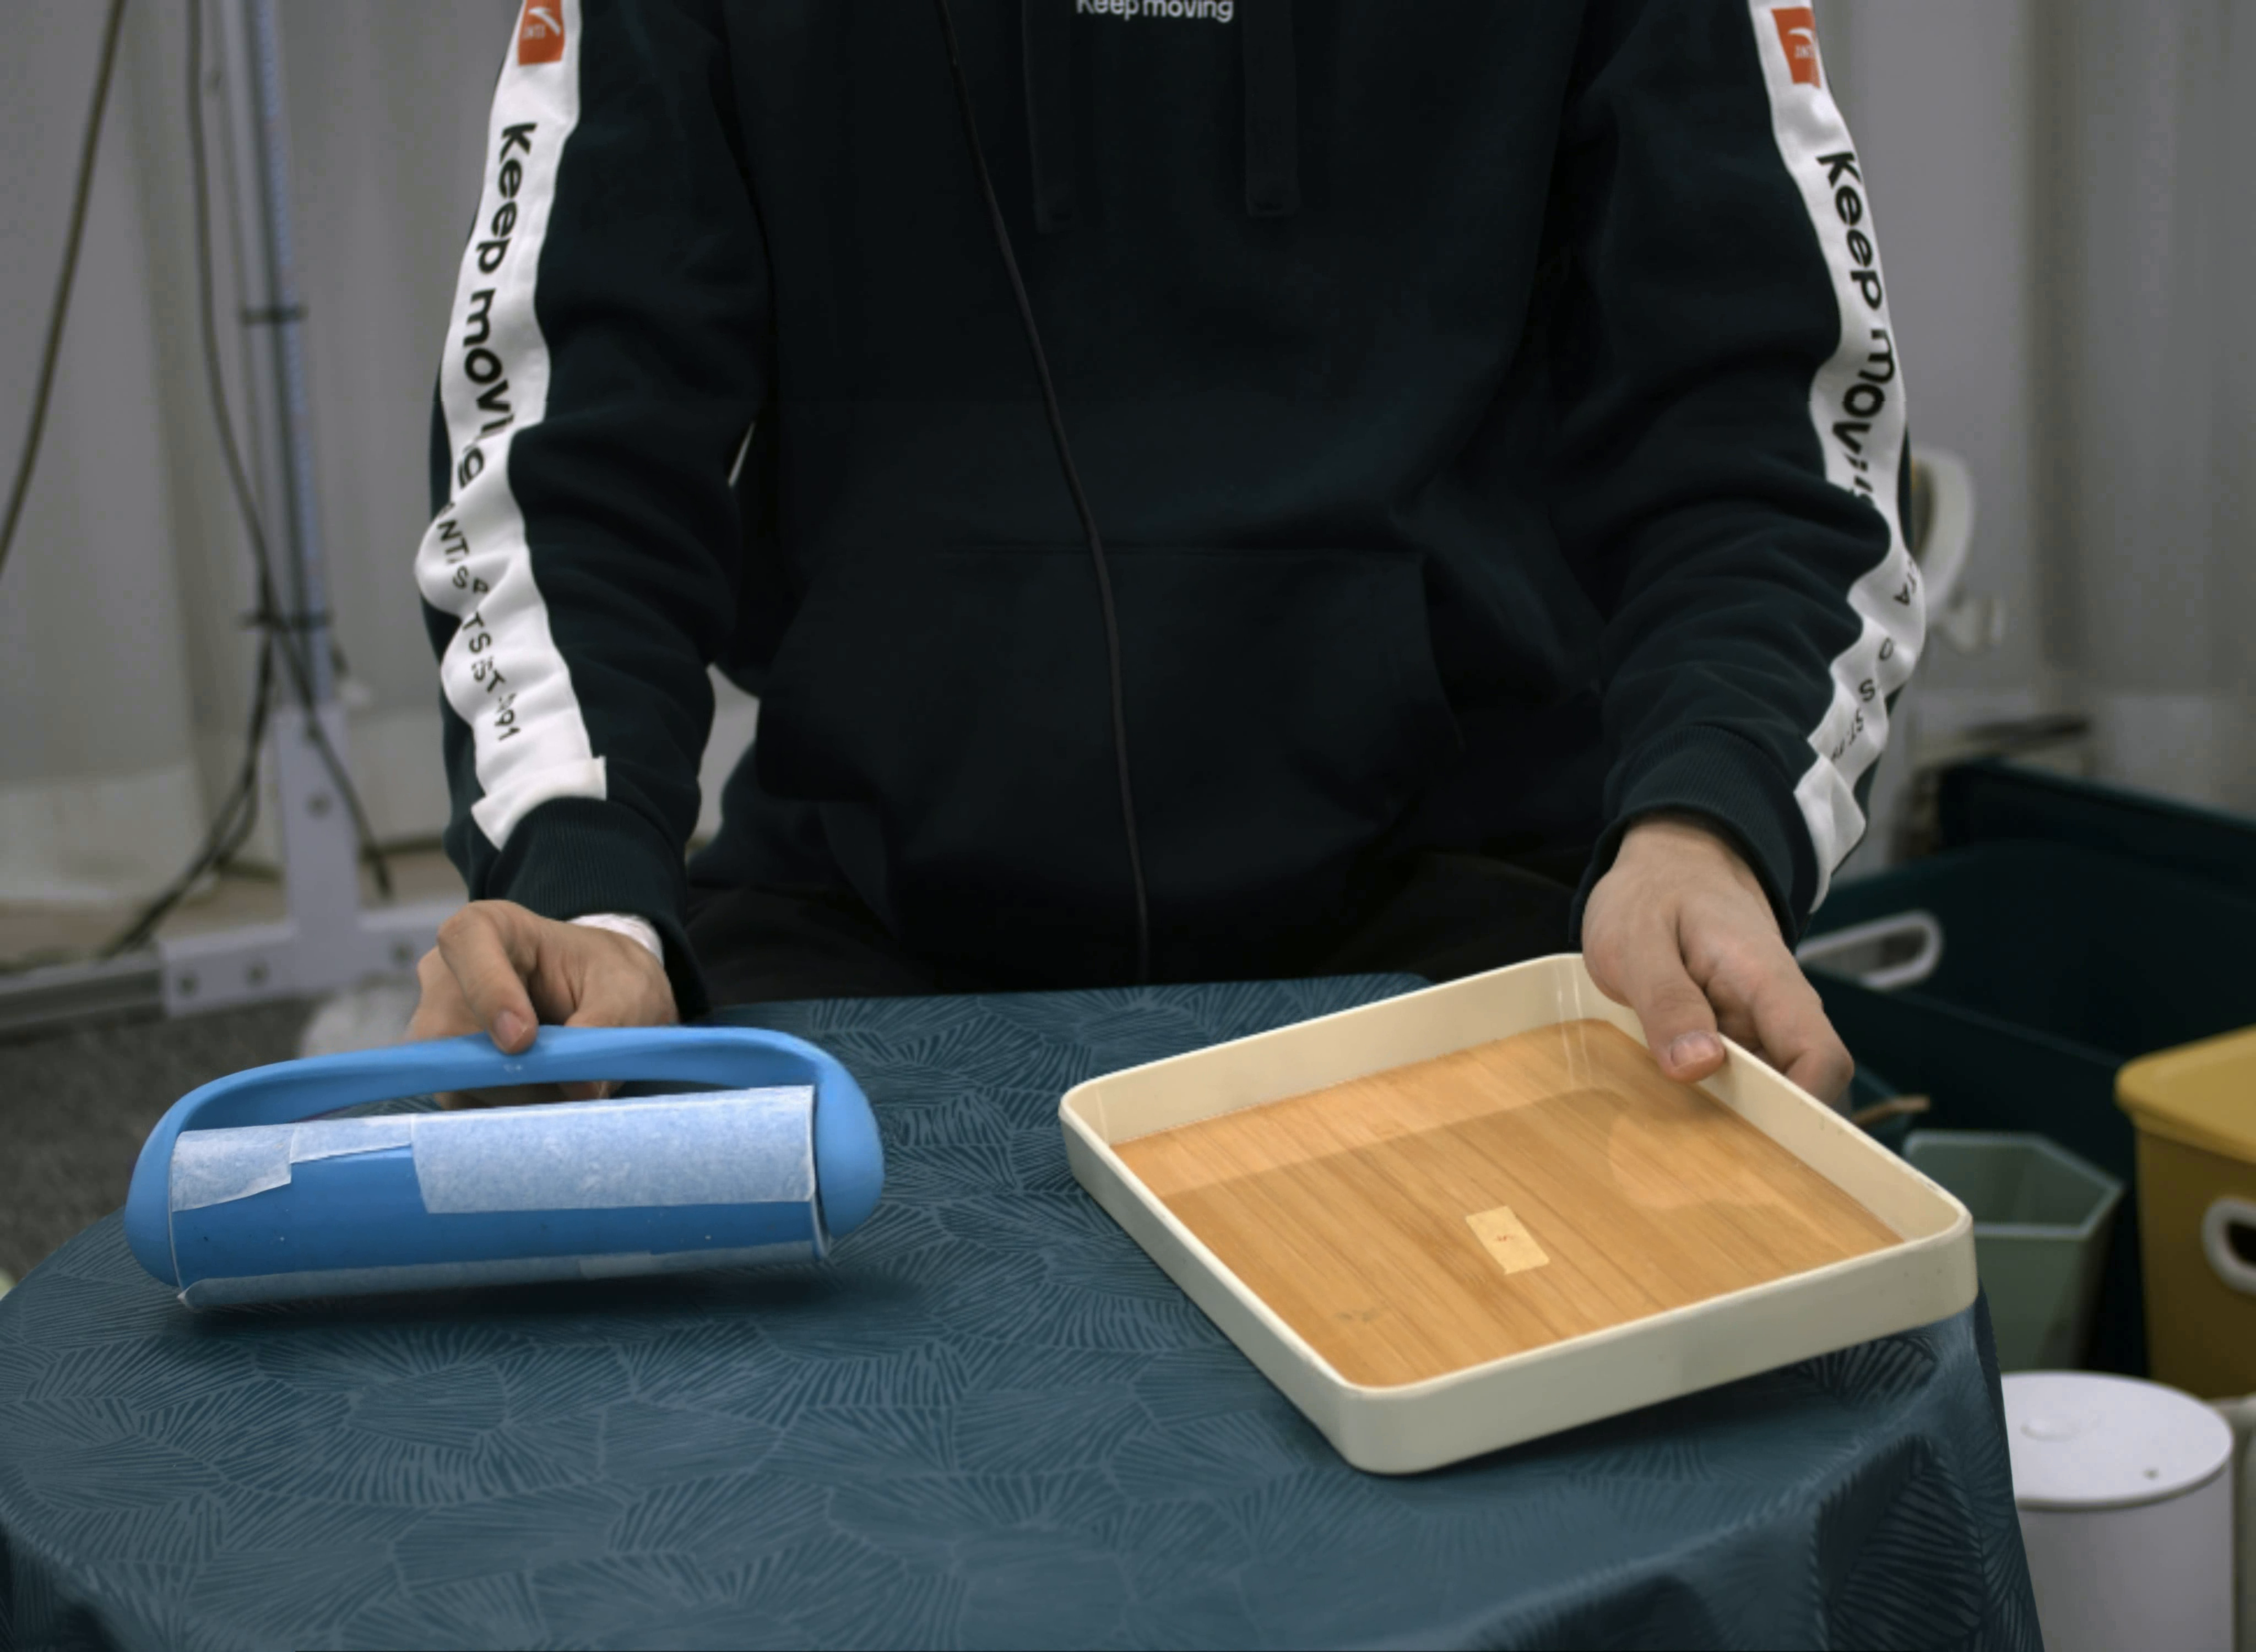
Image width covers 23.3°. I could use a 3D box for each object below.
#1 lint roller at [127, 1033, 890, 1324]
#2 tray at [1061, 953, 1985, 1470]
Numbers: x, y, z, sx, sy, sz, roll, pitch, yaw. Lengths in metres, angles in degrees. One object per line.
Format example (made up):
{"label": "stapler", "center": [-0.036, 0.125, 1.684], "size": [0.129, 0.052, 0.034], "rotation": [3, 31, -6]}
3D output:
{"label": "lint roller", "center": [-0.188, 0.097, 1.690], "size": [0.228, 0.067, 0.181], "rotation": [-7, 15, -1]}
{"label": "tray", "center": [0.109, 0.109, 1.620], "size": [0.191, 0.027, 0.302], "rotation": [-15, 17, -14]}
